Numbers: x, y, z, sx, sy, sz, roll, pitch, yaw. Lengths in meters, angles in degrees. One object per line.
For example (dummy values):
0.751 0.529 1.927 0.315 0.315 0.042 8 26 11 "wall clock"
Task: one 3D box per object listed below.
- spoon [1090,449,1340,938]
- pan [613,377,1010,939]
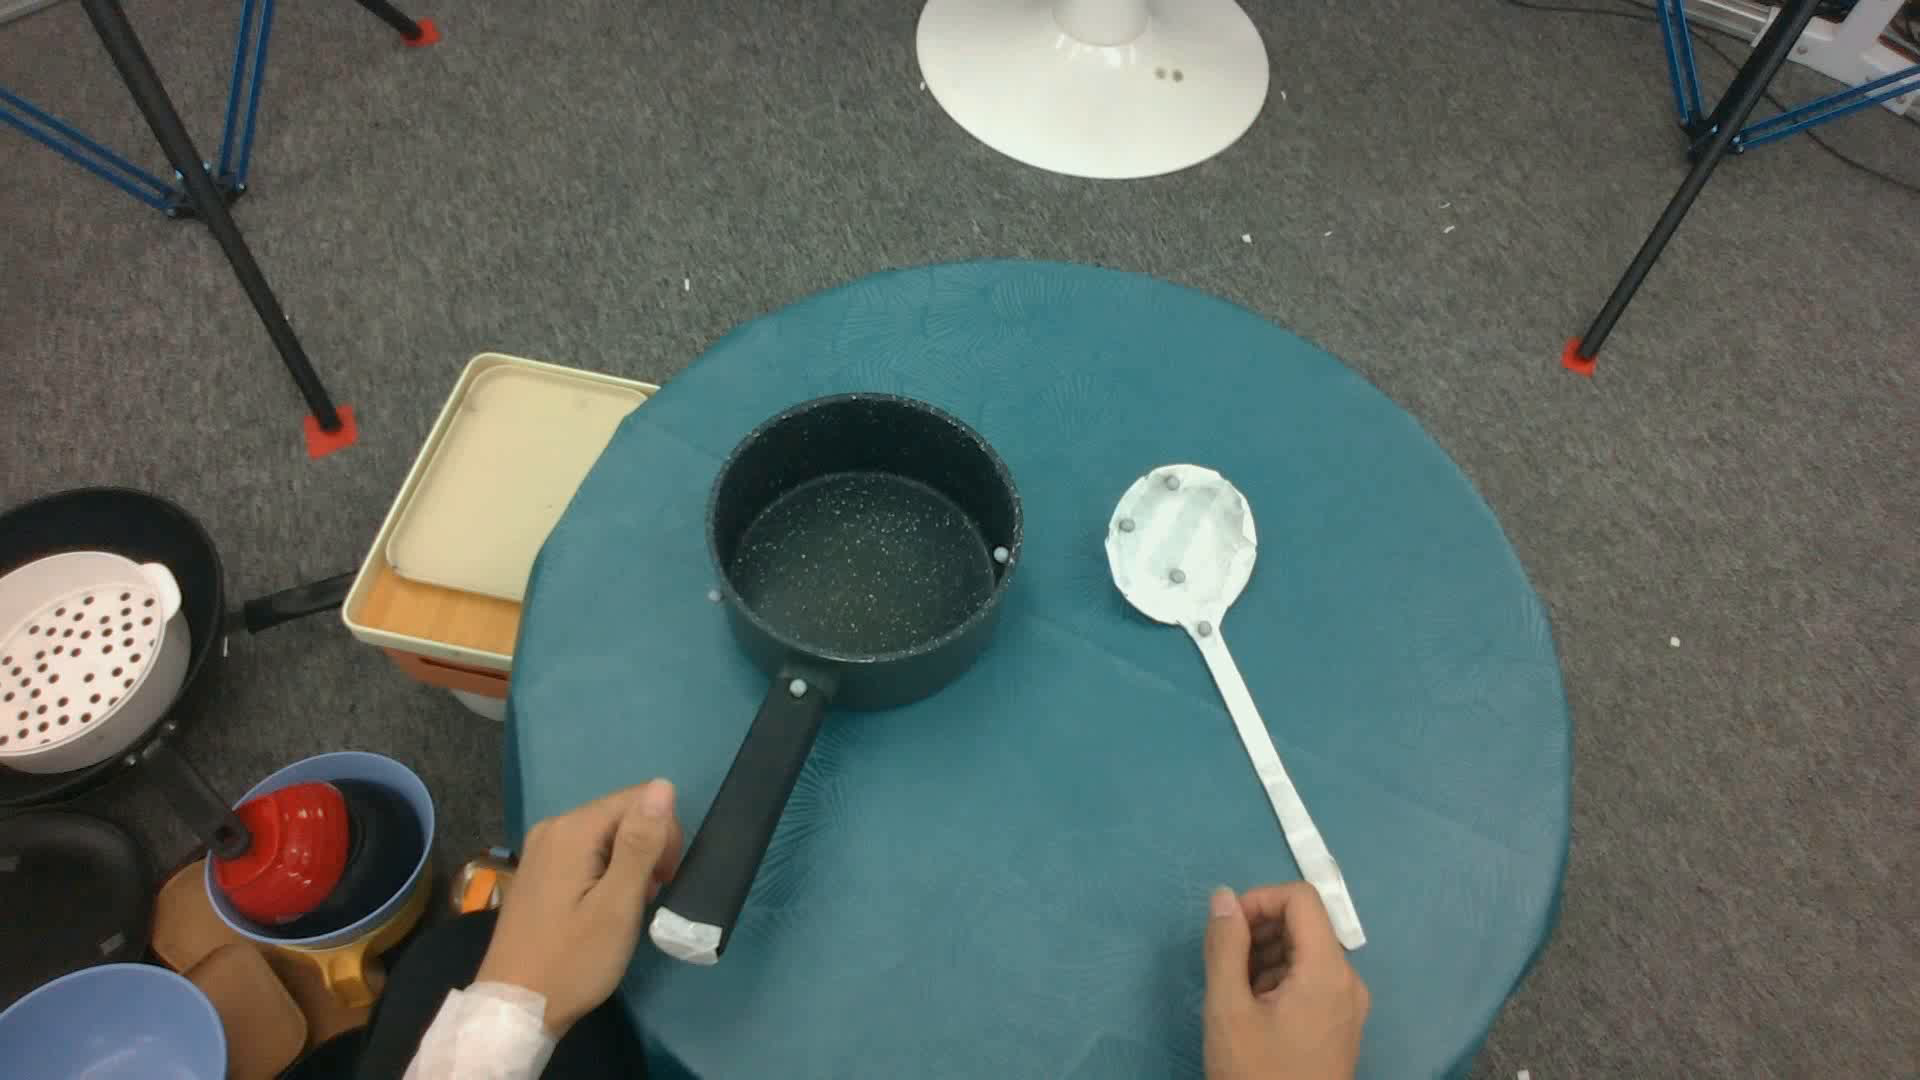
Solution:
0.148 0.078 0.753 0.101 0.059 0.278 -13 61 -10 "spoon"
-0.086 0.061 0.725 0.172 0.086 0.330 18 58 7 "pan"
